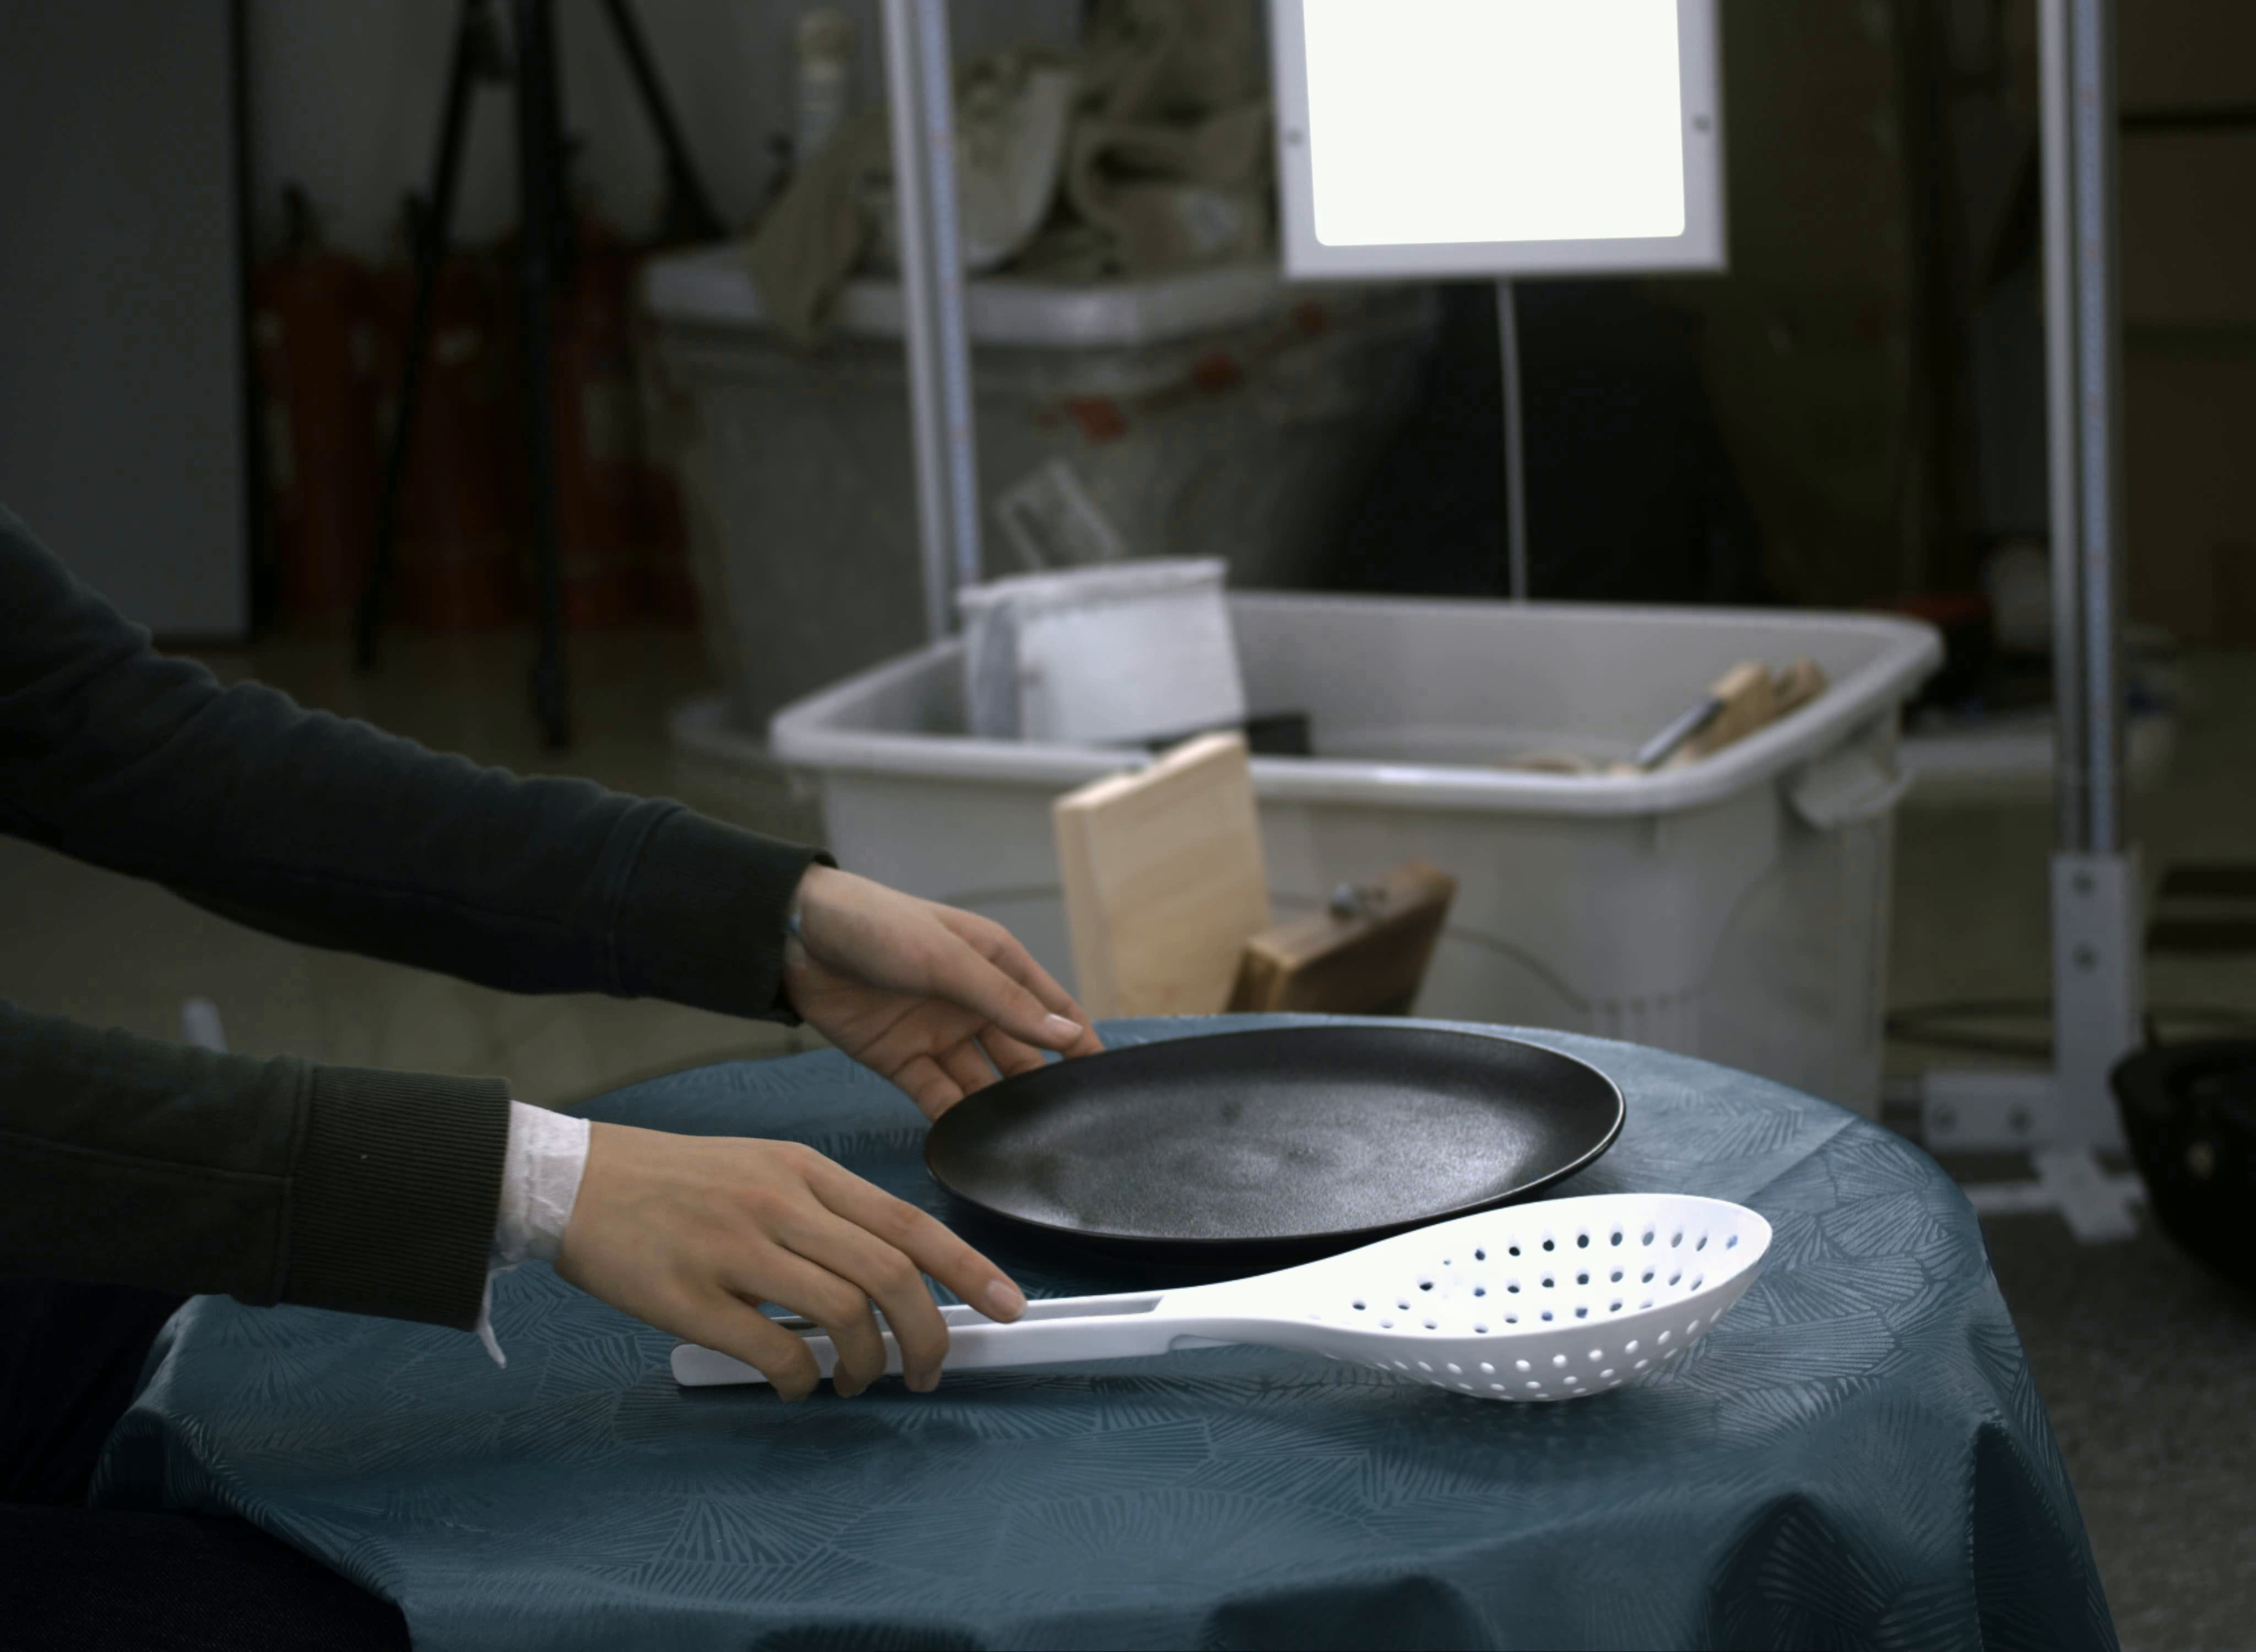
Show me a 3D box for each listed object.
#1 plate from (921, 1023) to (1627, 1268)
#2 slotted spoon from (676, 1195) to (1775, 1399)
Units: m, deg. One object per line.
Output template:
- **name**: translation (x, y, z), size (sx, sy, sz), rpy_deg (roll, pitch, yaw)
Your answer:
- **plate**: translation (0.051, 0.112, 1.889), size (0.244, 0.023, 0.244), rpy_deg (-5, 14, 0)
- **slotted spoon**: translation (0.027, 0.150, 1.695), size (0.353, 0.046, 0.134), rpy_deg (-2, 12, 17)
